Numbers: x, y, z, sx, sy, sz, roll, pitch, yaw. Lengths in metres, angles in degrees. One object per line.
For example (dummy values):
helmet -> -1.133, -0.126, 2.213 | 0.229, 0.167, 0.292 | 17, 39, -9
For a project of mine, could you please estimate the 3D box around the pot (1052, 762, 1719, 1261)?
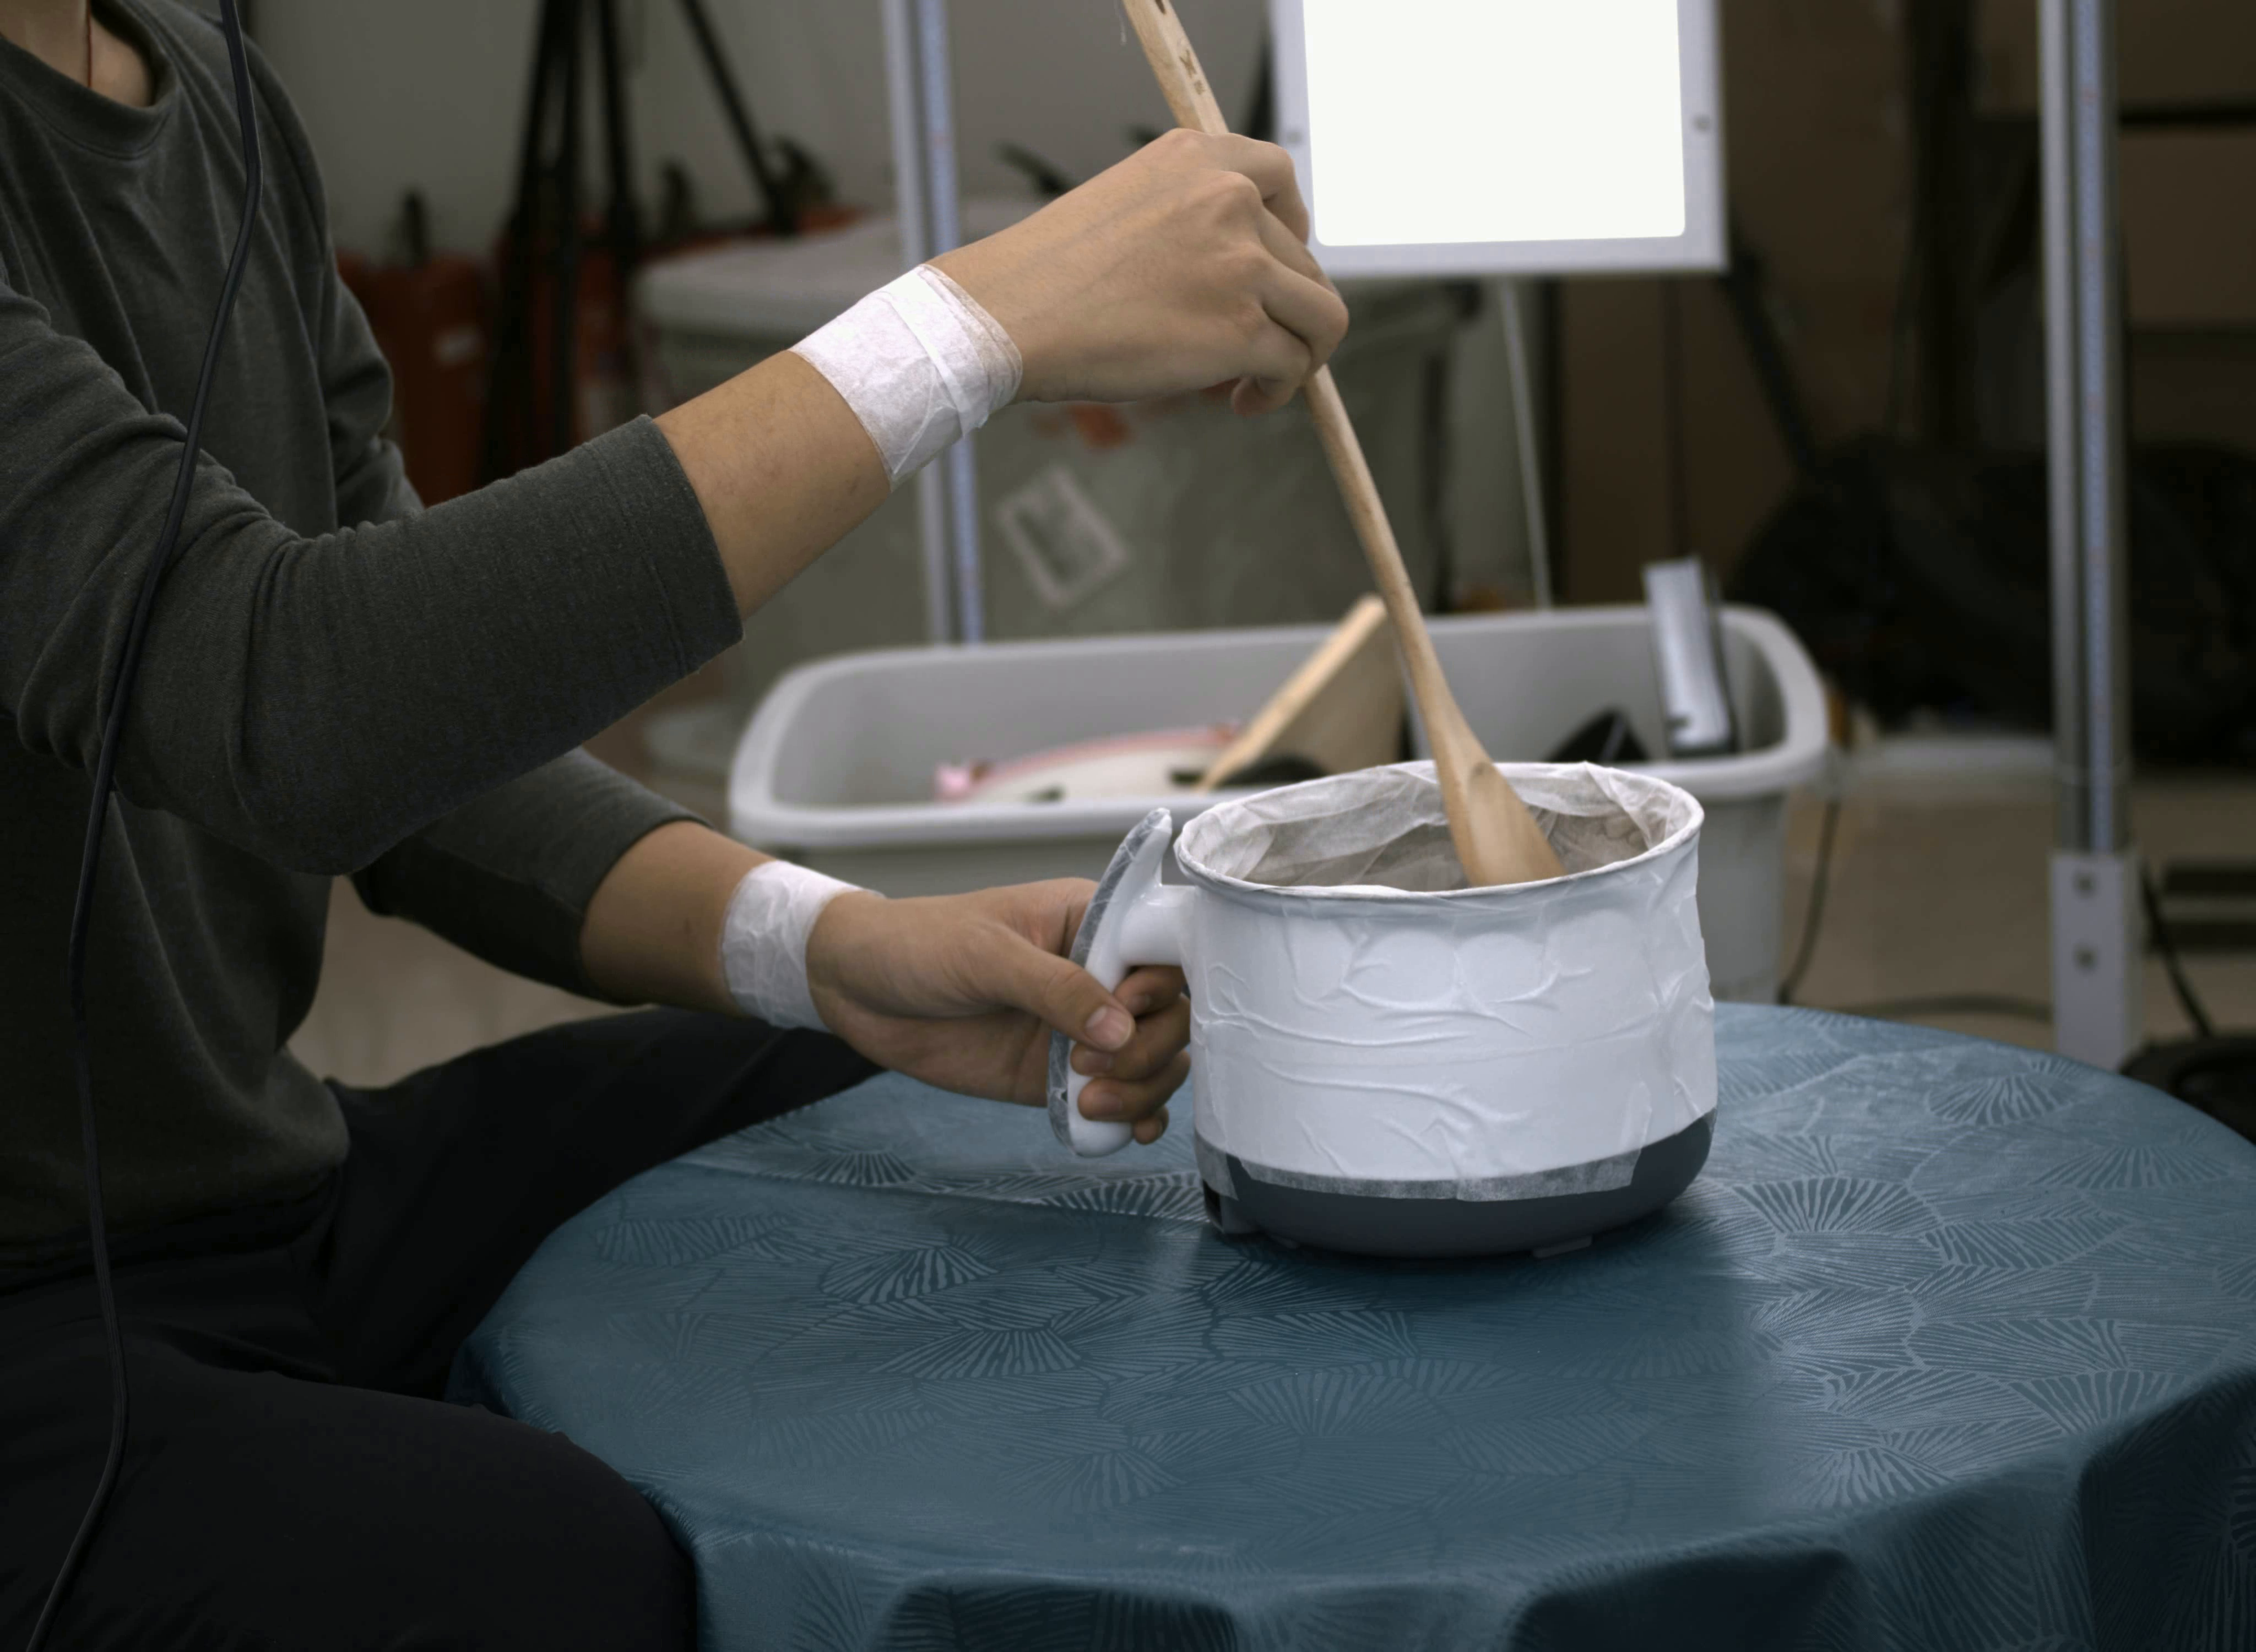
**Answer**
pot -> 0.083, 0.062, 1.854 | 0.237, 0.137, 0.175 | -1, 15, 21

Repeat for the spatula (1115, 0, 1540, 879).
spatula -> 0.072, -0.109, 1.818 | 0.018, 0.391, 0.095 | -19, 12, 16
